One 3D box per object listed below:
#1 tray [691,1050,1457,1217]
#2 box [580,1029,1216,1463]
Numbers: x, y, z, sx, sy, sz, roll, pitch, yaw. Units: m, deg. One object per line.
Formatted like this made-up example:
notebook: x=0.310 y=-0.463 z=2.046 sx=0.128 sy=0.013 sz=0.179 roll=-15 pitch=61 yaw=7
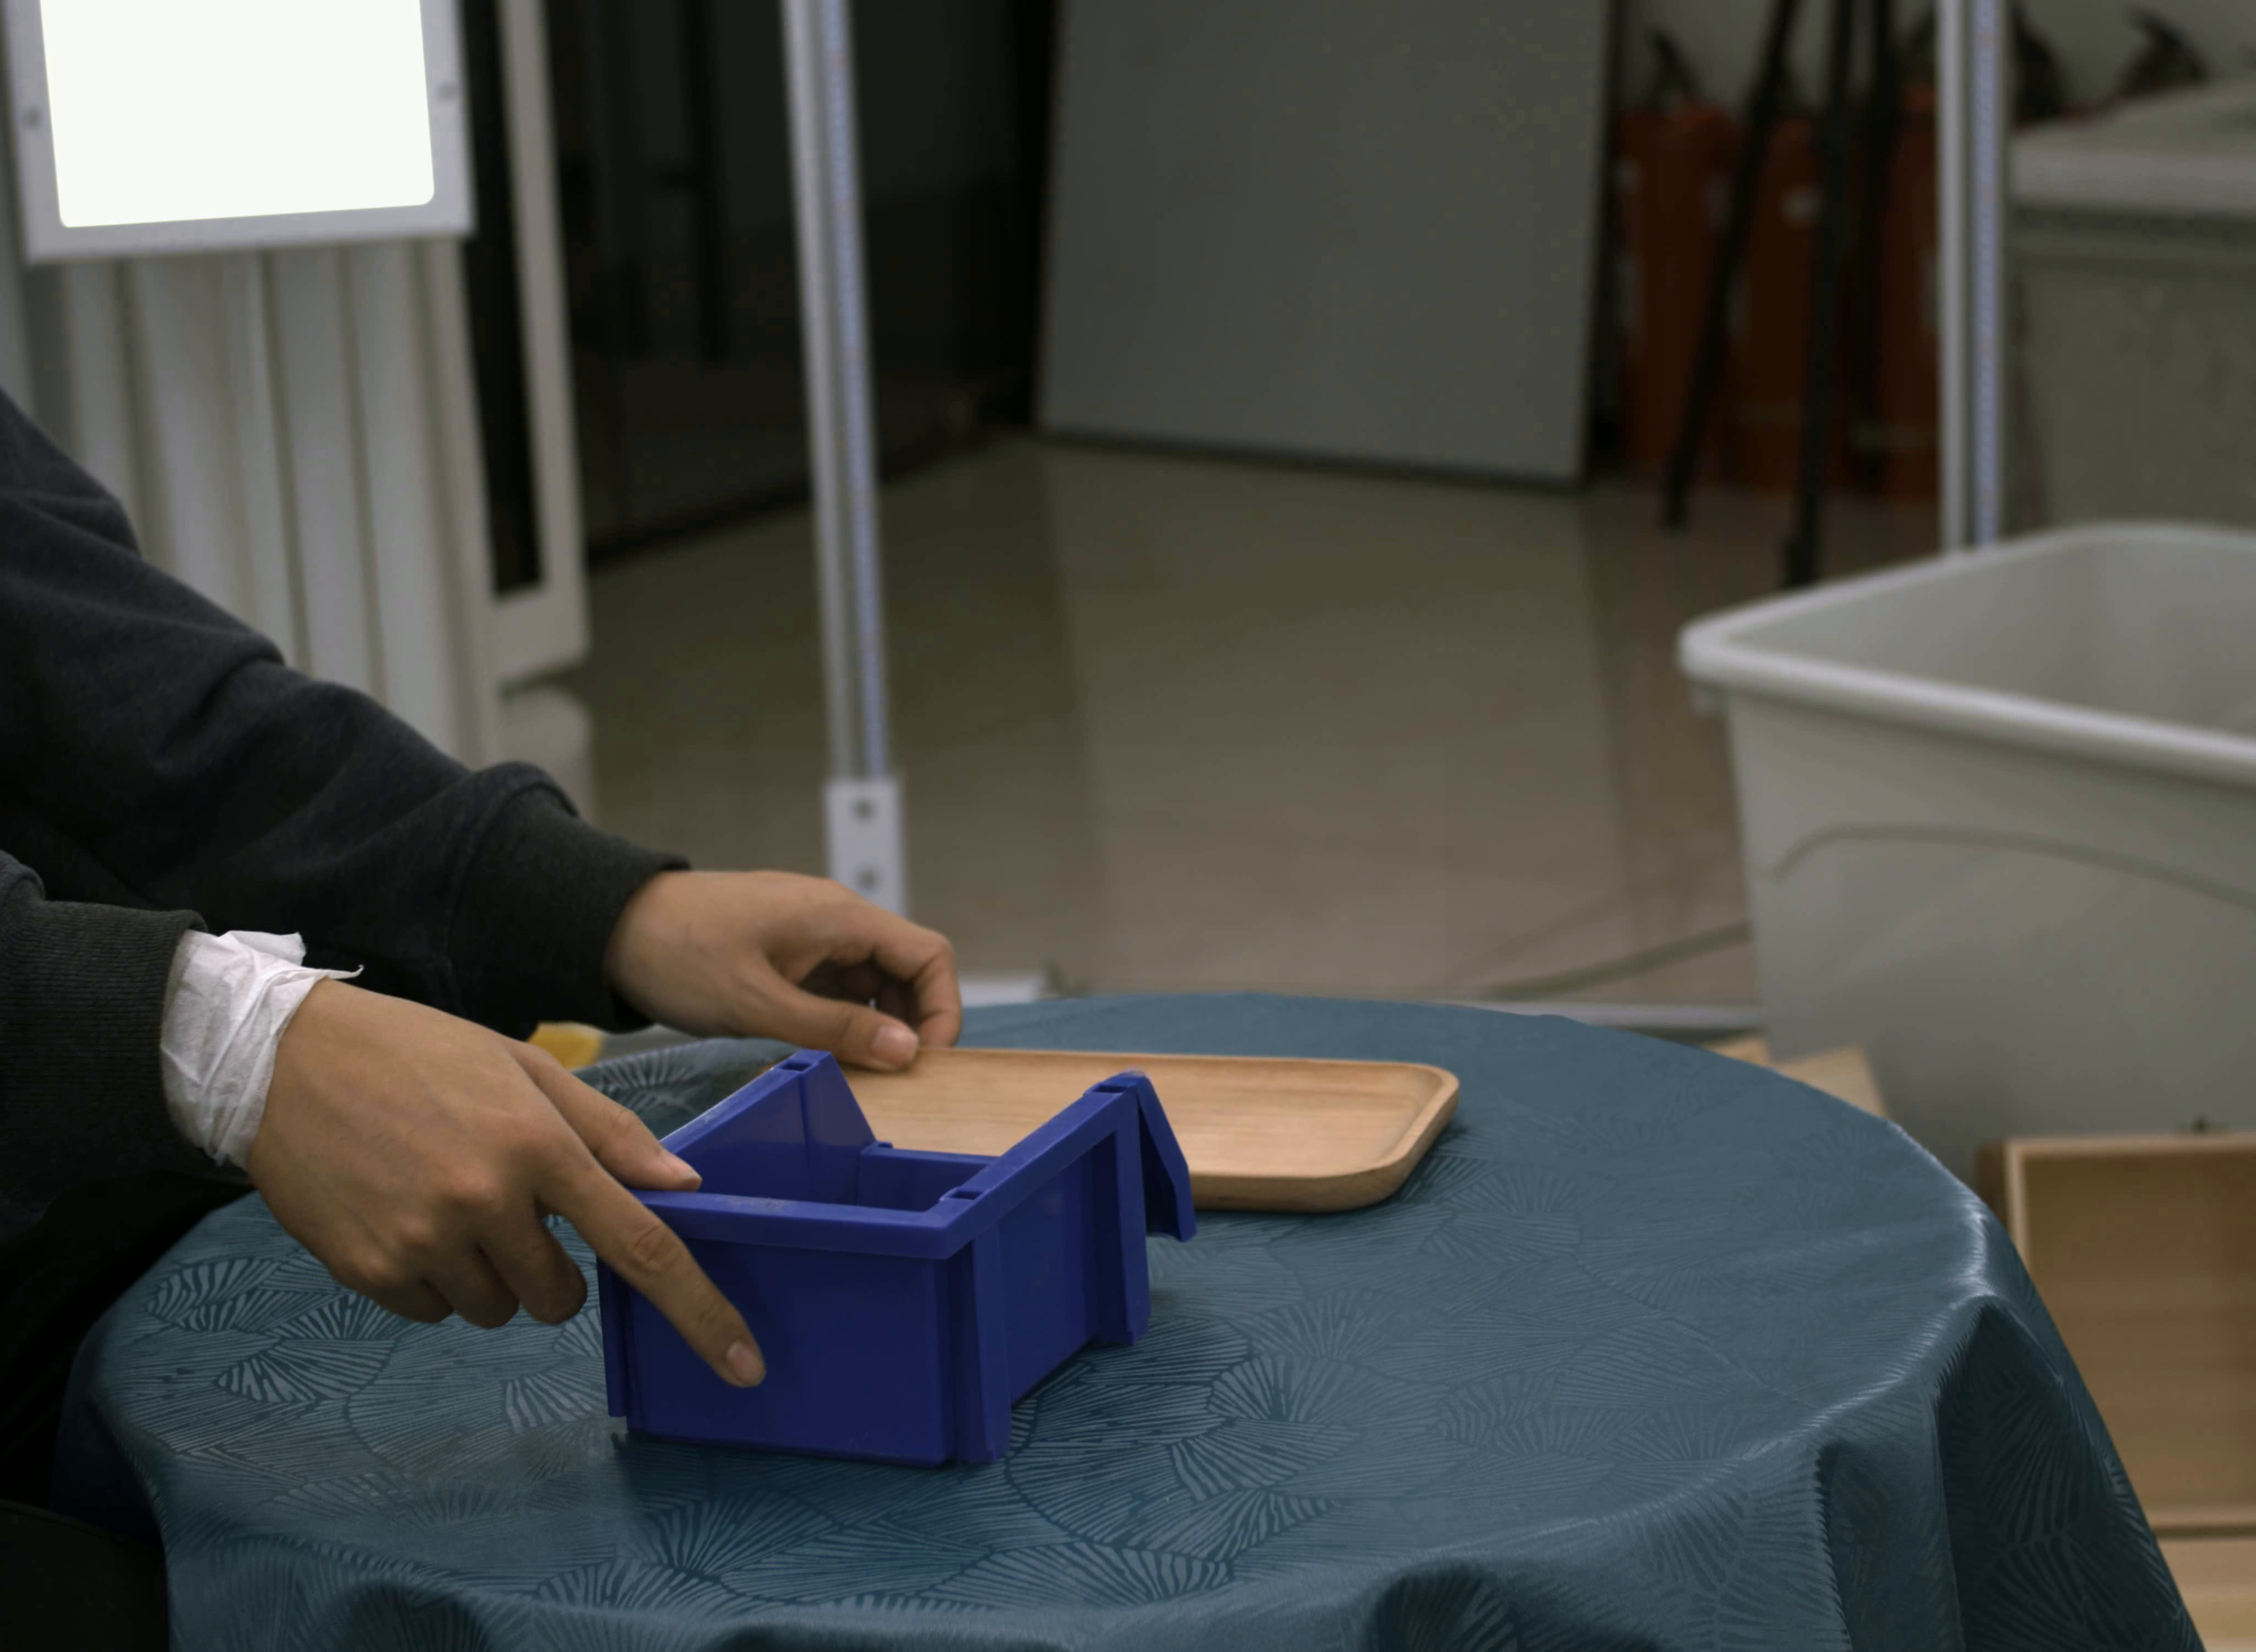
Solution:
tray: x=-0.018 y=0.103 z=1.813 sx=0.250 sy=0.023 sz=0.129 roll=0 pitch=12 yaw=19
box: x=-0.066 y=0.120 z=1.616 sx=0.125 sy=0.083 sz=0.177 roll=3 pitch=18 yaw=26
